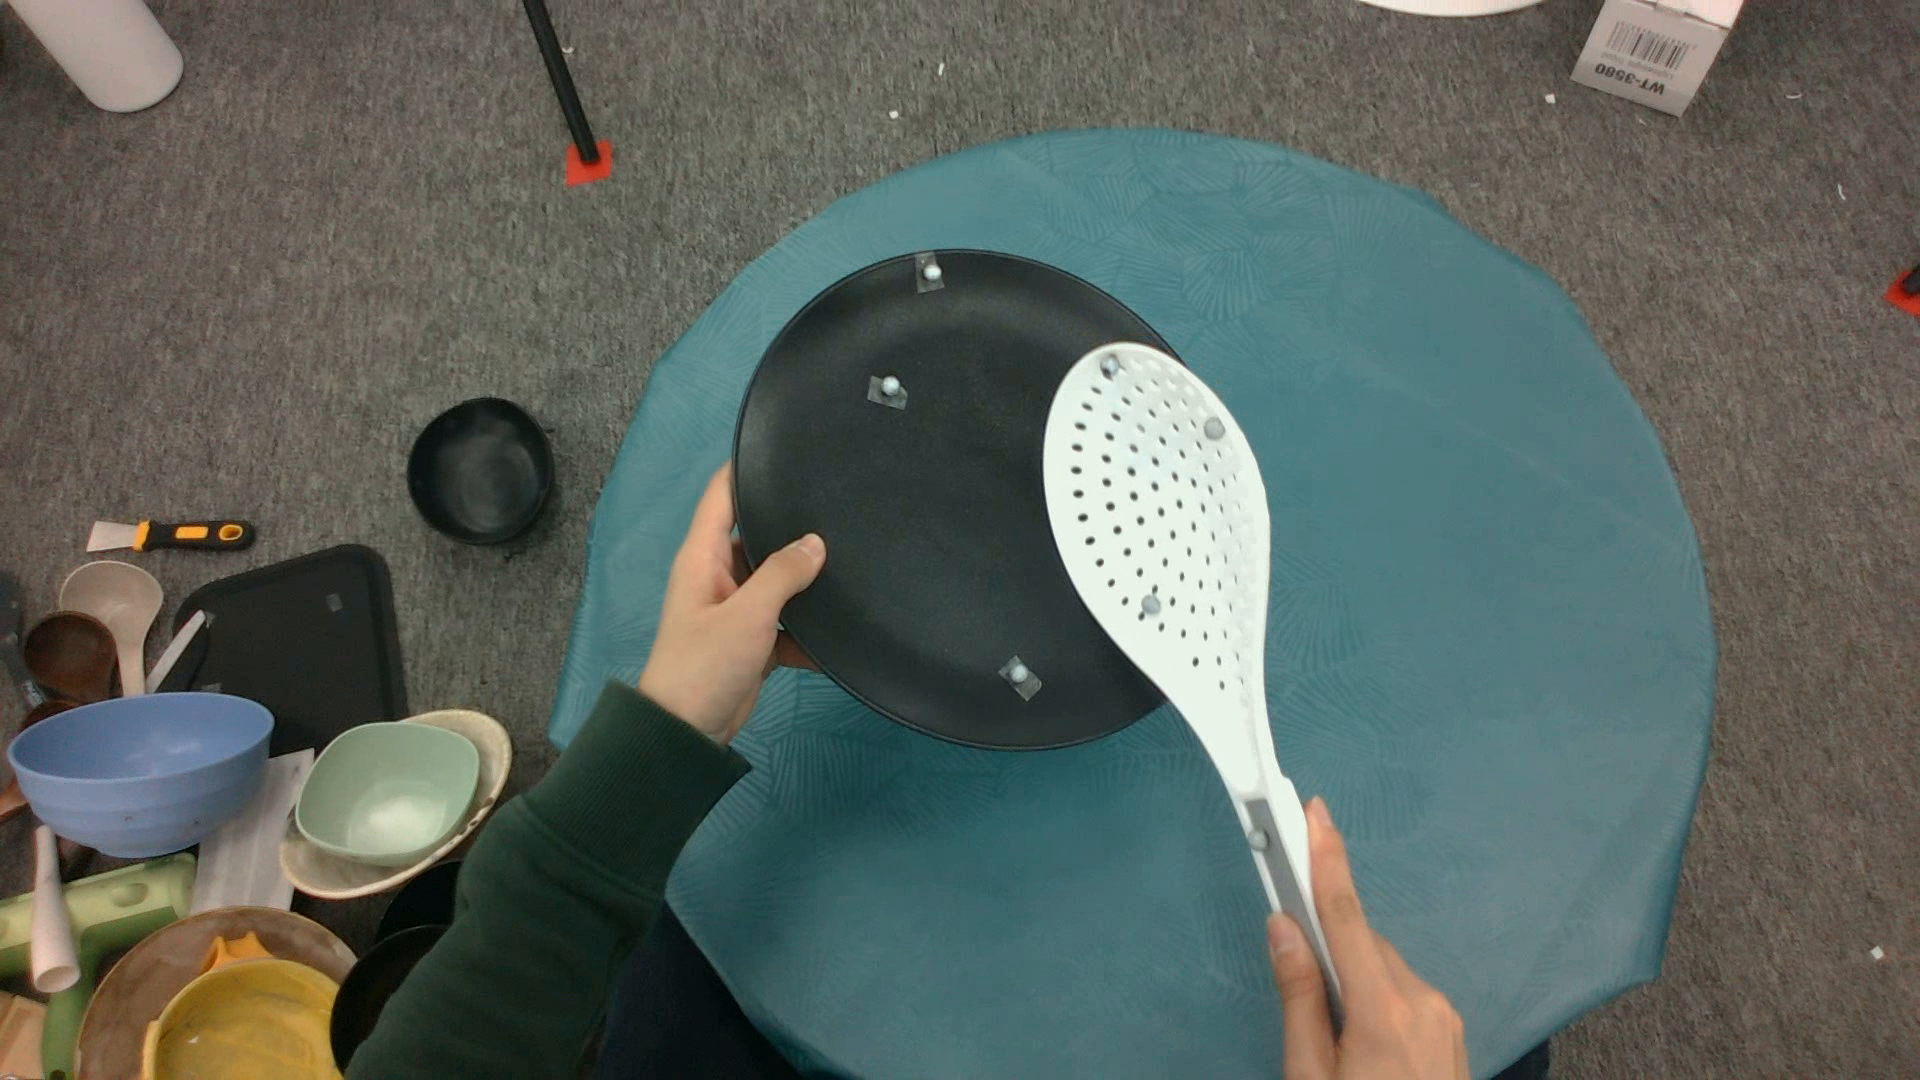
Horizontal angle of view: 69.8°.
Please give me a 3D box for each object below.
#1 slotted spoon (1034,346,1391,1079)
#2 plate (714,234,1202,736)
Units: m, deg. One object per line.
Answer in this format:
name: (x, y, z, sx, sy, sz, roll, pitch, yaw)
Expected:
slotted spoon: (0.113, 0.086, 0.565, 0.046, 0.135, 0.350, -11, 81, -29)
plate: (0.008, -0.029, 0.630, 0.245, 0.023, 0.245, 7, 68, -17)
